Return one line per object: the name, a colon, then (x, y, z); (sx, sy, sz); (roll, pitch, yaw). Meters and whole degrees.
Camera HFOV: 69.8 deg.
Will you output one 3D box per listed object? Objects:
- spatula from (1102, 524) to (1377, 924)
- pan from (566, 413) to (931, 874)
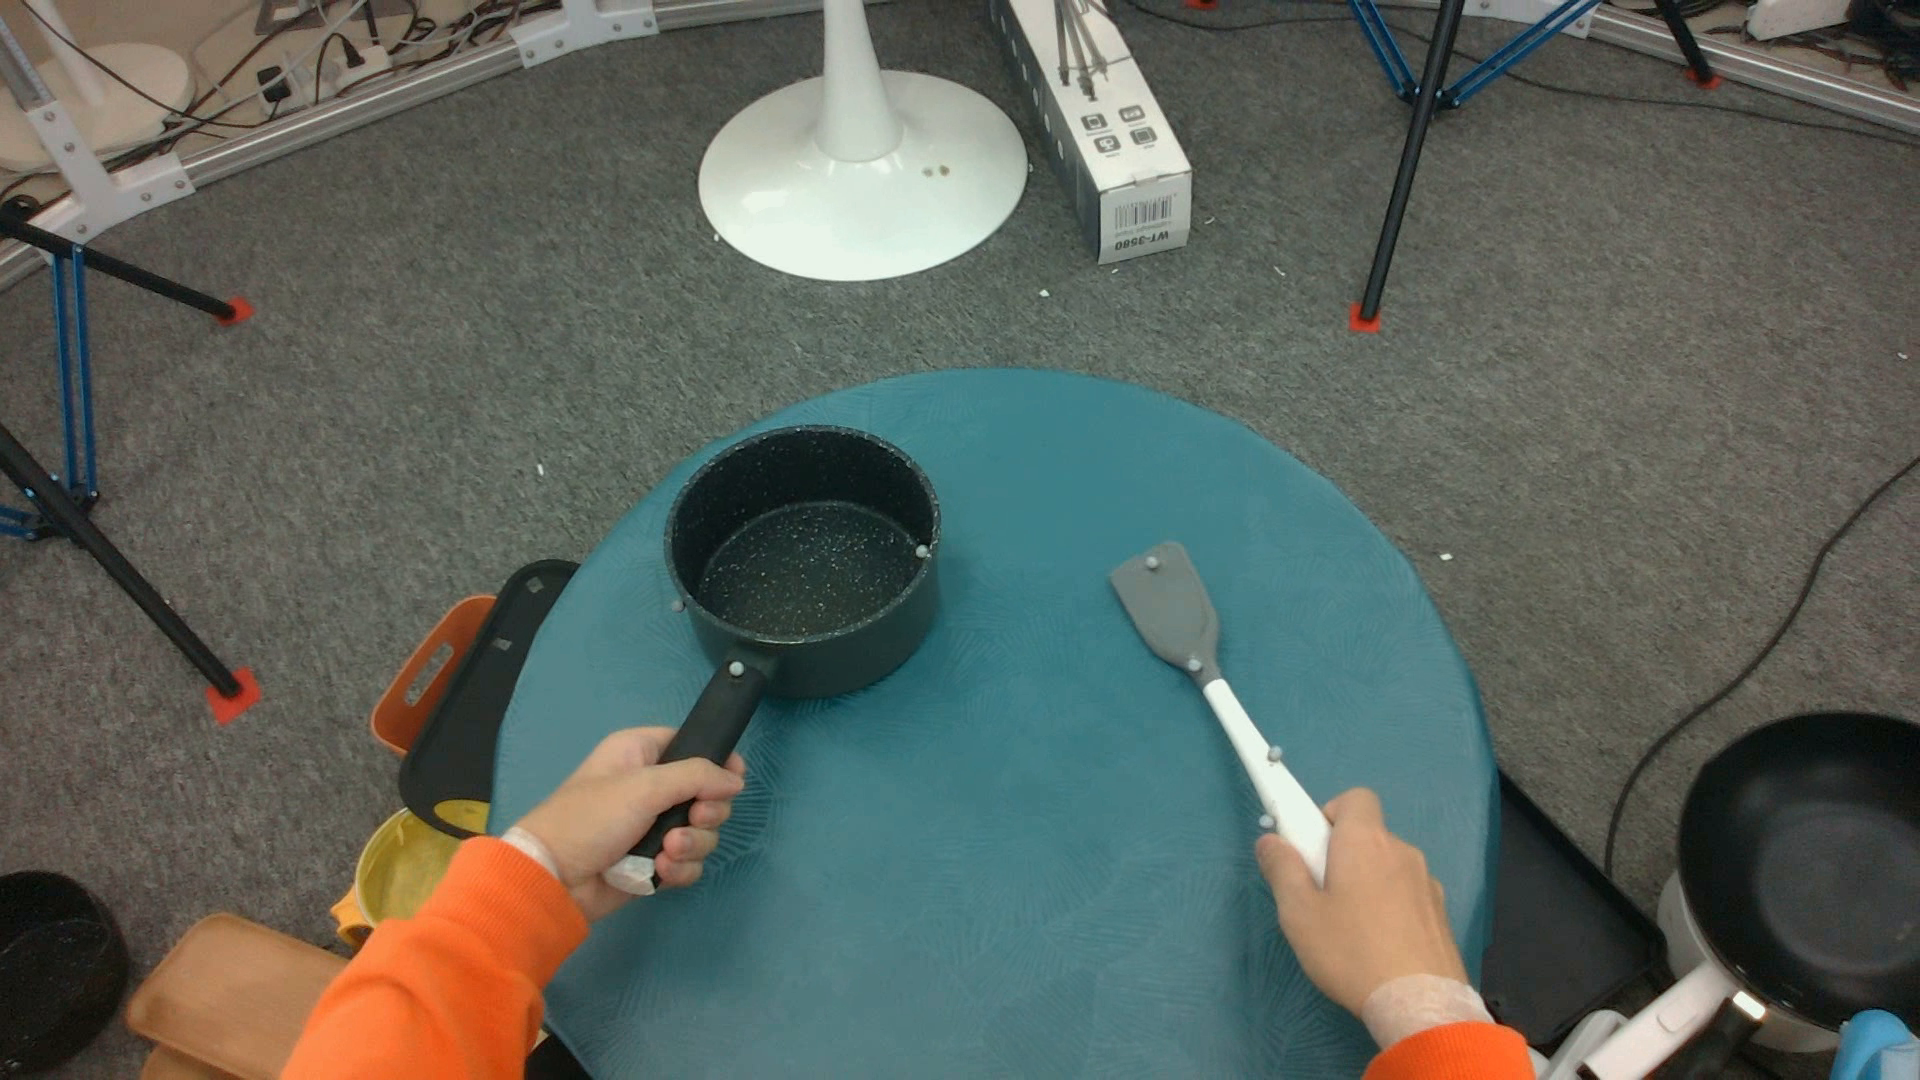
spatula: (0.159, 0.096, 0.810); (0.058, 0.032, 0.288); (-30, 44, 5)
pan: (-0.129, 0.065, 0.823); (0.172, 0.086, 0.330); (15, 52, 13)
